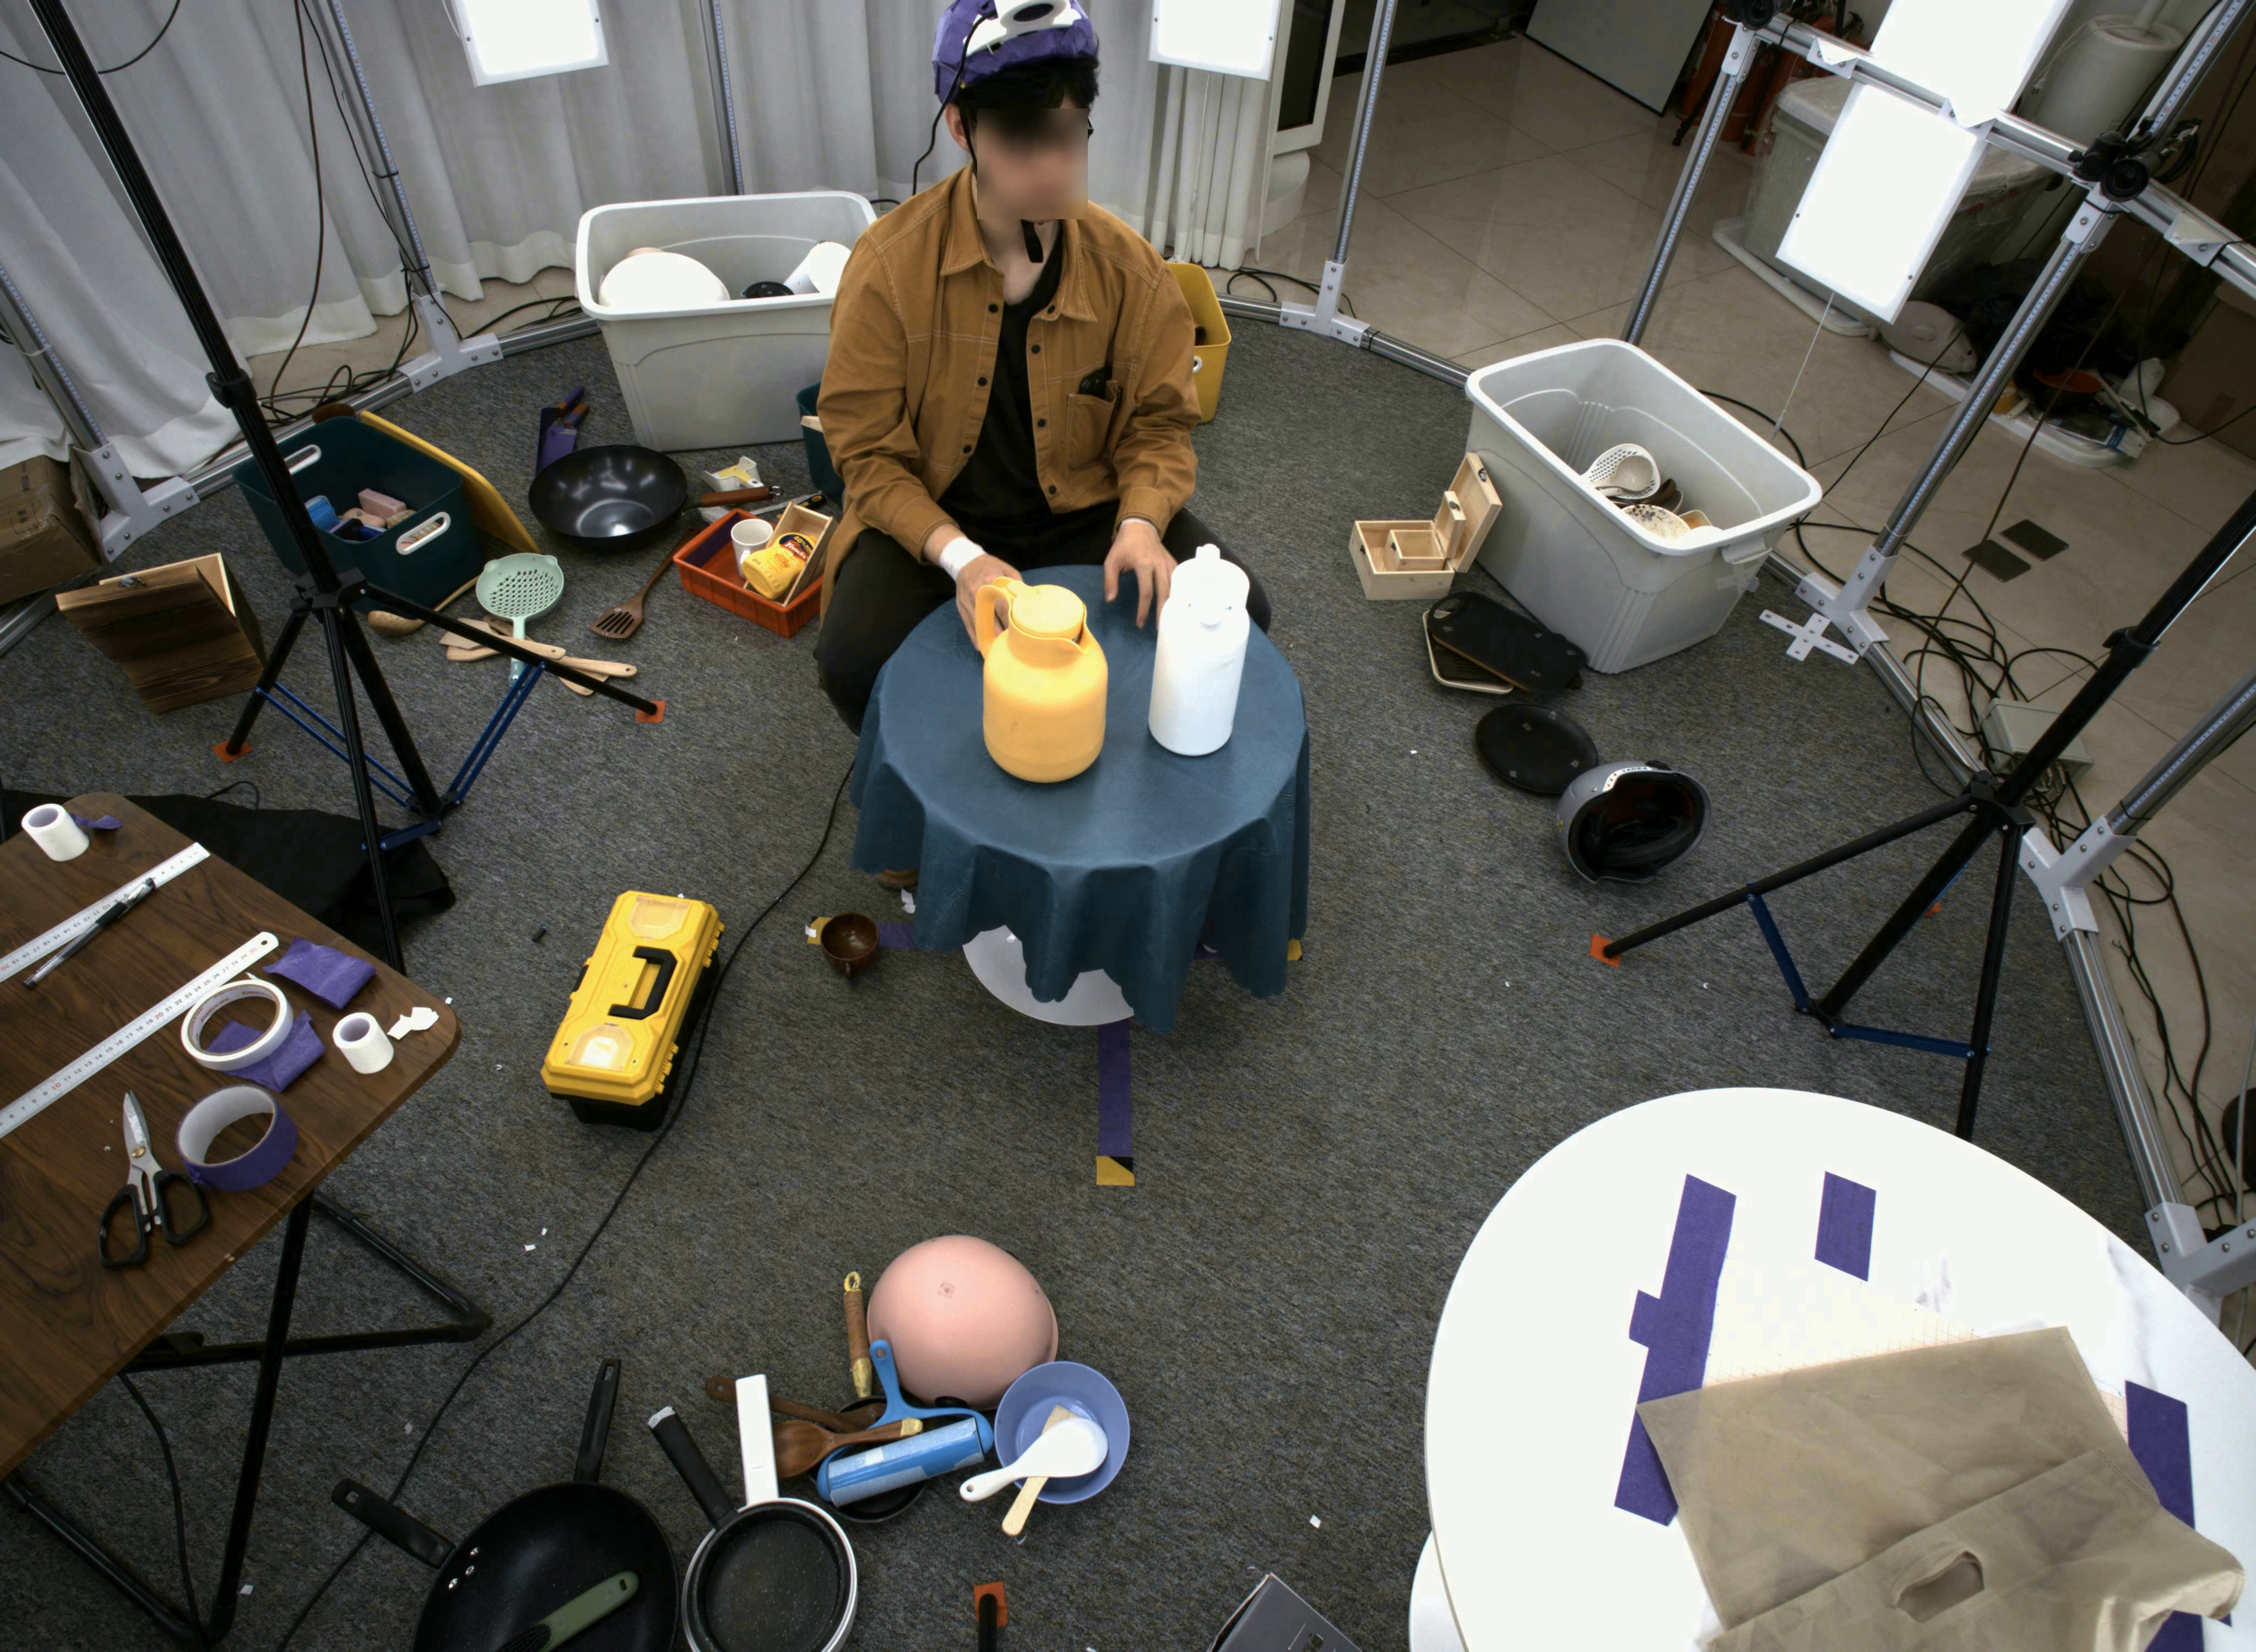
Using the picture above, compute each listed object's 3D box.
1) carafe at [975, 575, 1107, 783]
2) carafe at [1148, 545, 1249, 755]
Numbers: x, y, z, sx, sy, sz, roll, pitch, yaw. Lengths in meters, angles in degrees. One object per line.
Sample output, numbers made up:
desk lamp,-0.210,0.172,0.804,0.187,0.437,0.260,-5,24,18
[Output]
carafe,-0.121,-0.199,1.665,0.165,0.254,0.205,-33,60,-31
carafe,0.093,-0.235,1.706,0.124,0.262,0.177,2,49,0
